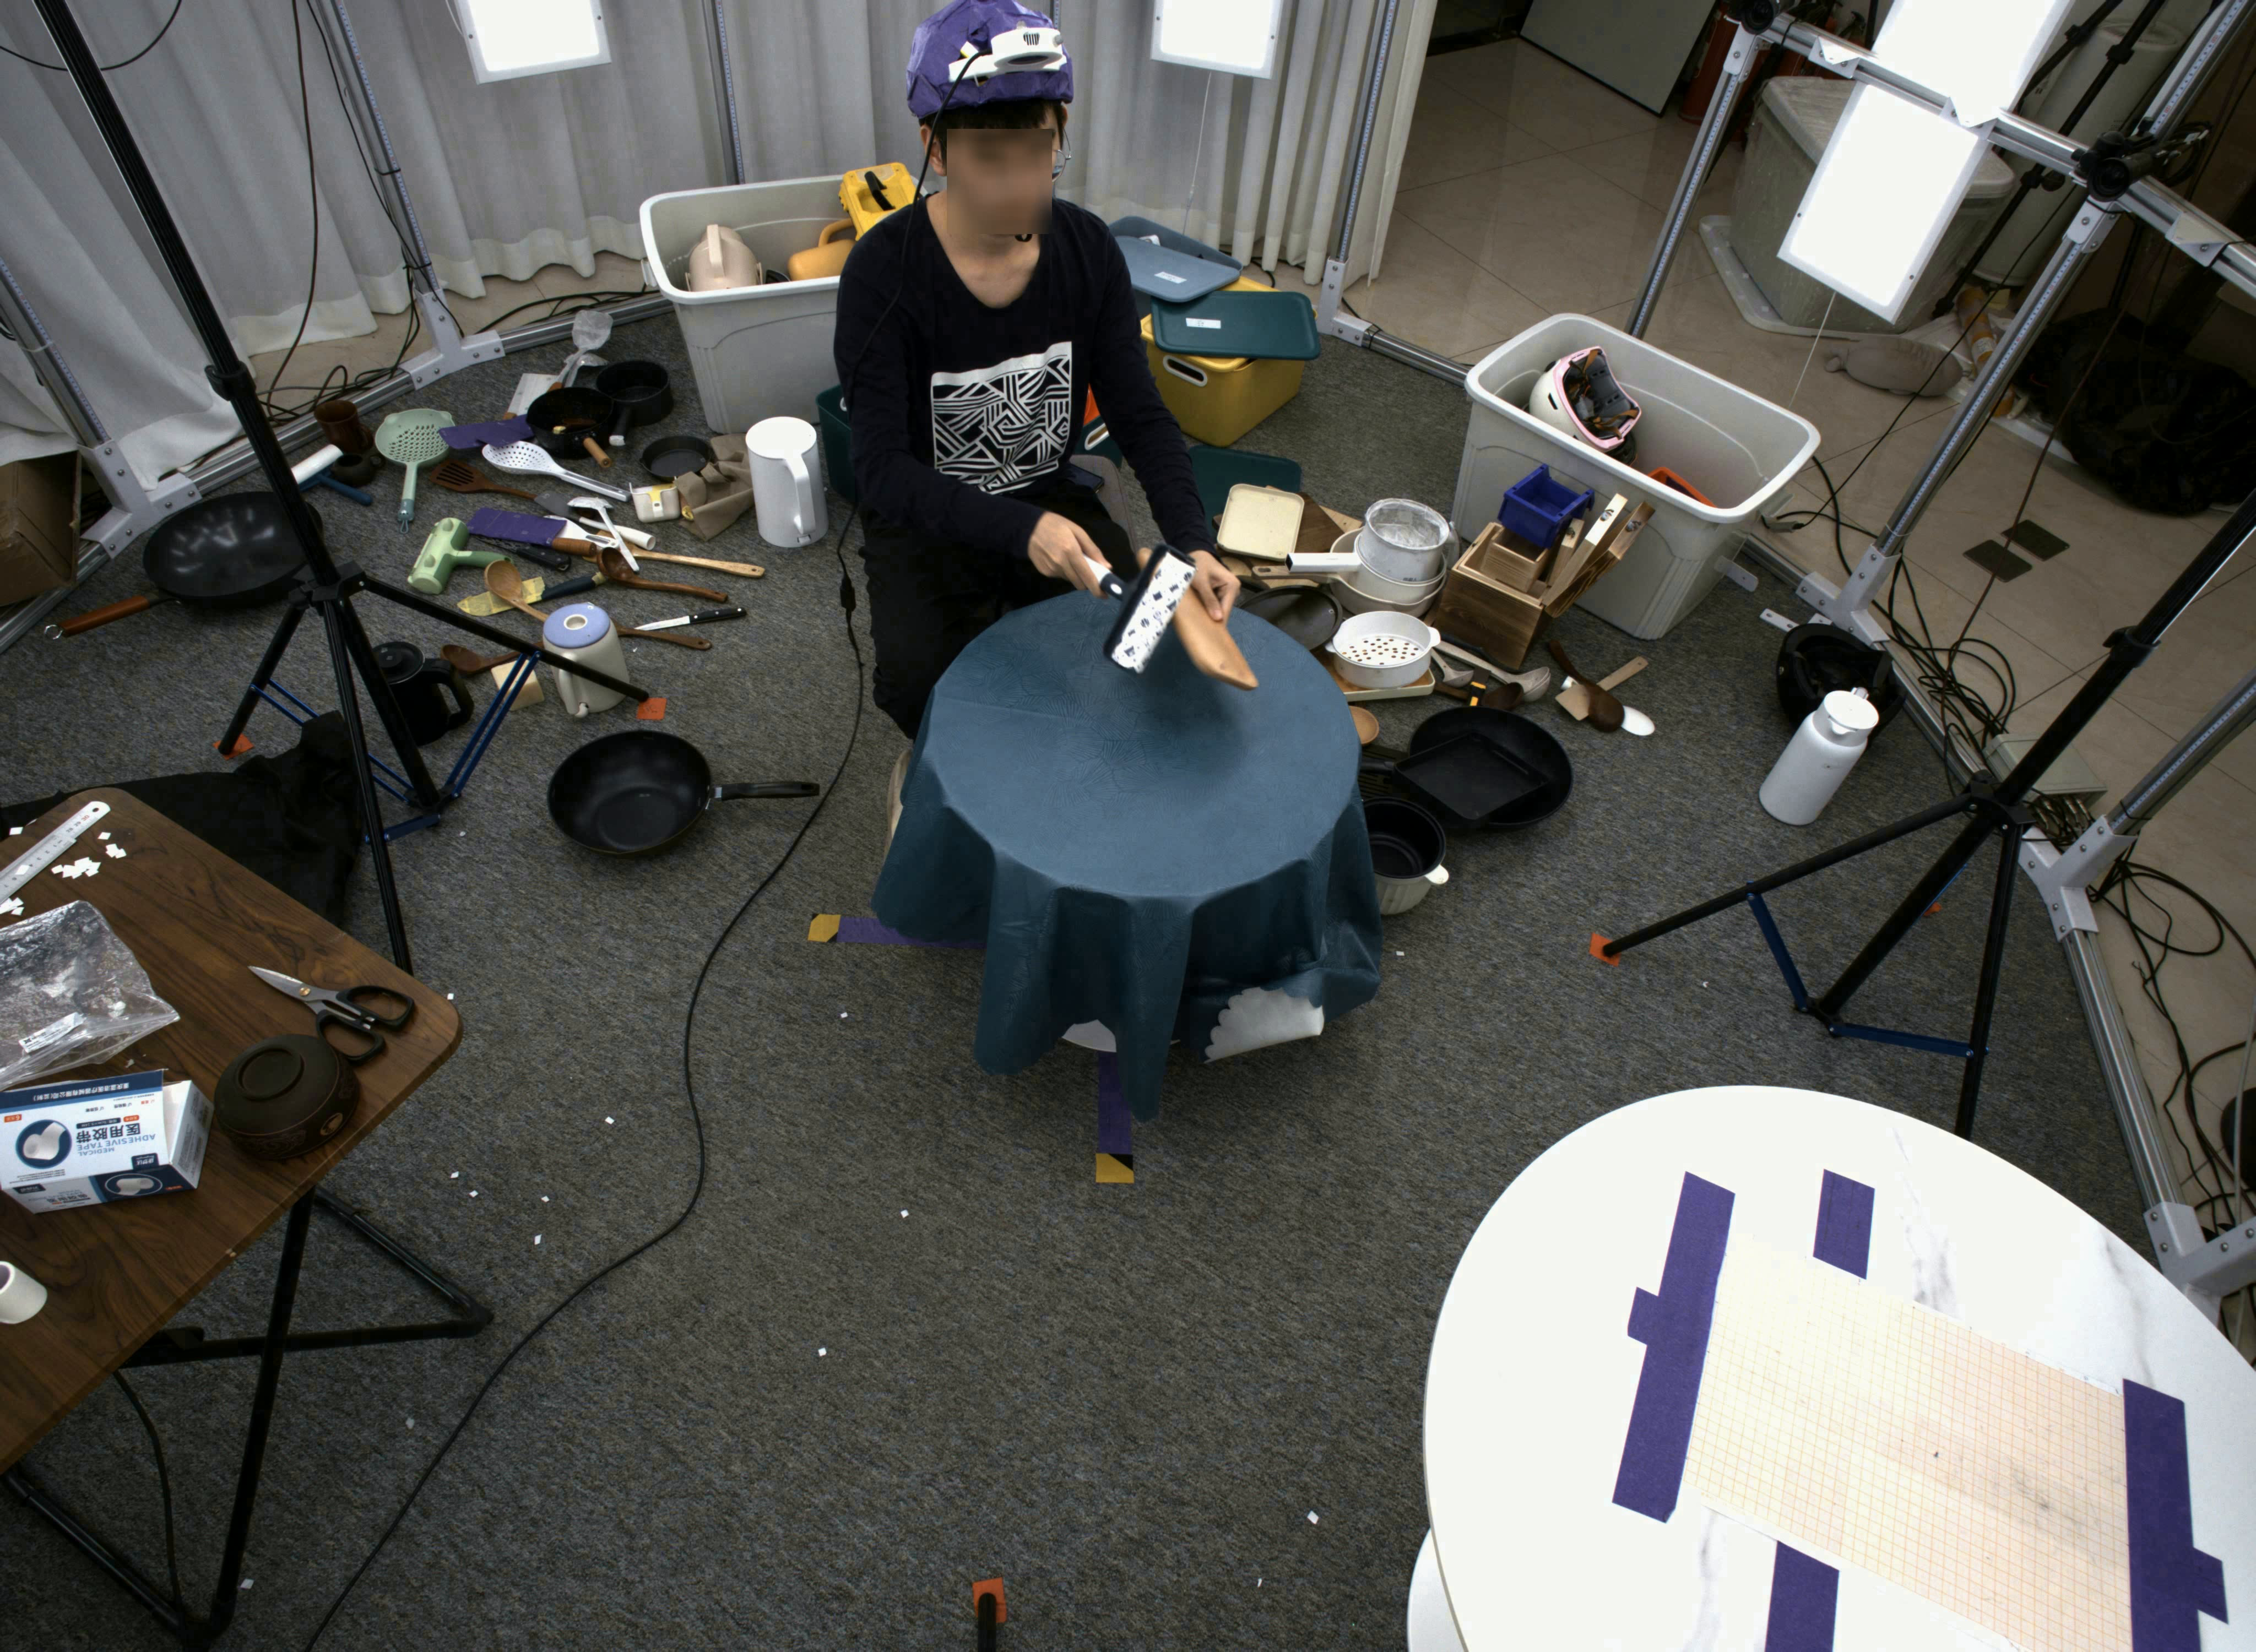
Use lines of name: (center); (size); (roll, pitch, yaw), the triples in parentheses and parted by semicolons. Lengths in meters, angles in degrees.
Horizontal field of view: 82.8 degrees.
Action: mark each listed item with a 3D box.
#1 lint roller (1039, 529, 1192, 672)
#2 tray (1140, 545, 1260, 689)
lint roller: (-0.041, -0.346, 1.775); (0.251, 0.174, 0.050); (37, 19, 28)
tray: (0.098, -0.290, 1.786); (0.129, 0.022, 0.256); (22, 34, -47)
